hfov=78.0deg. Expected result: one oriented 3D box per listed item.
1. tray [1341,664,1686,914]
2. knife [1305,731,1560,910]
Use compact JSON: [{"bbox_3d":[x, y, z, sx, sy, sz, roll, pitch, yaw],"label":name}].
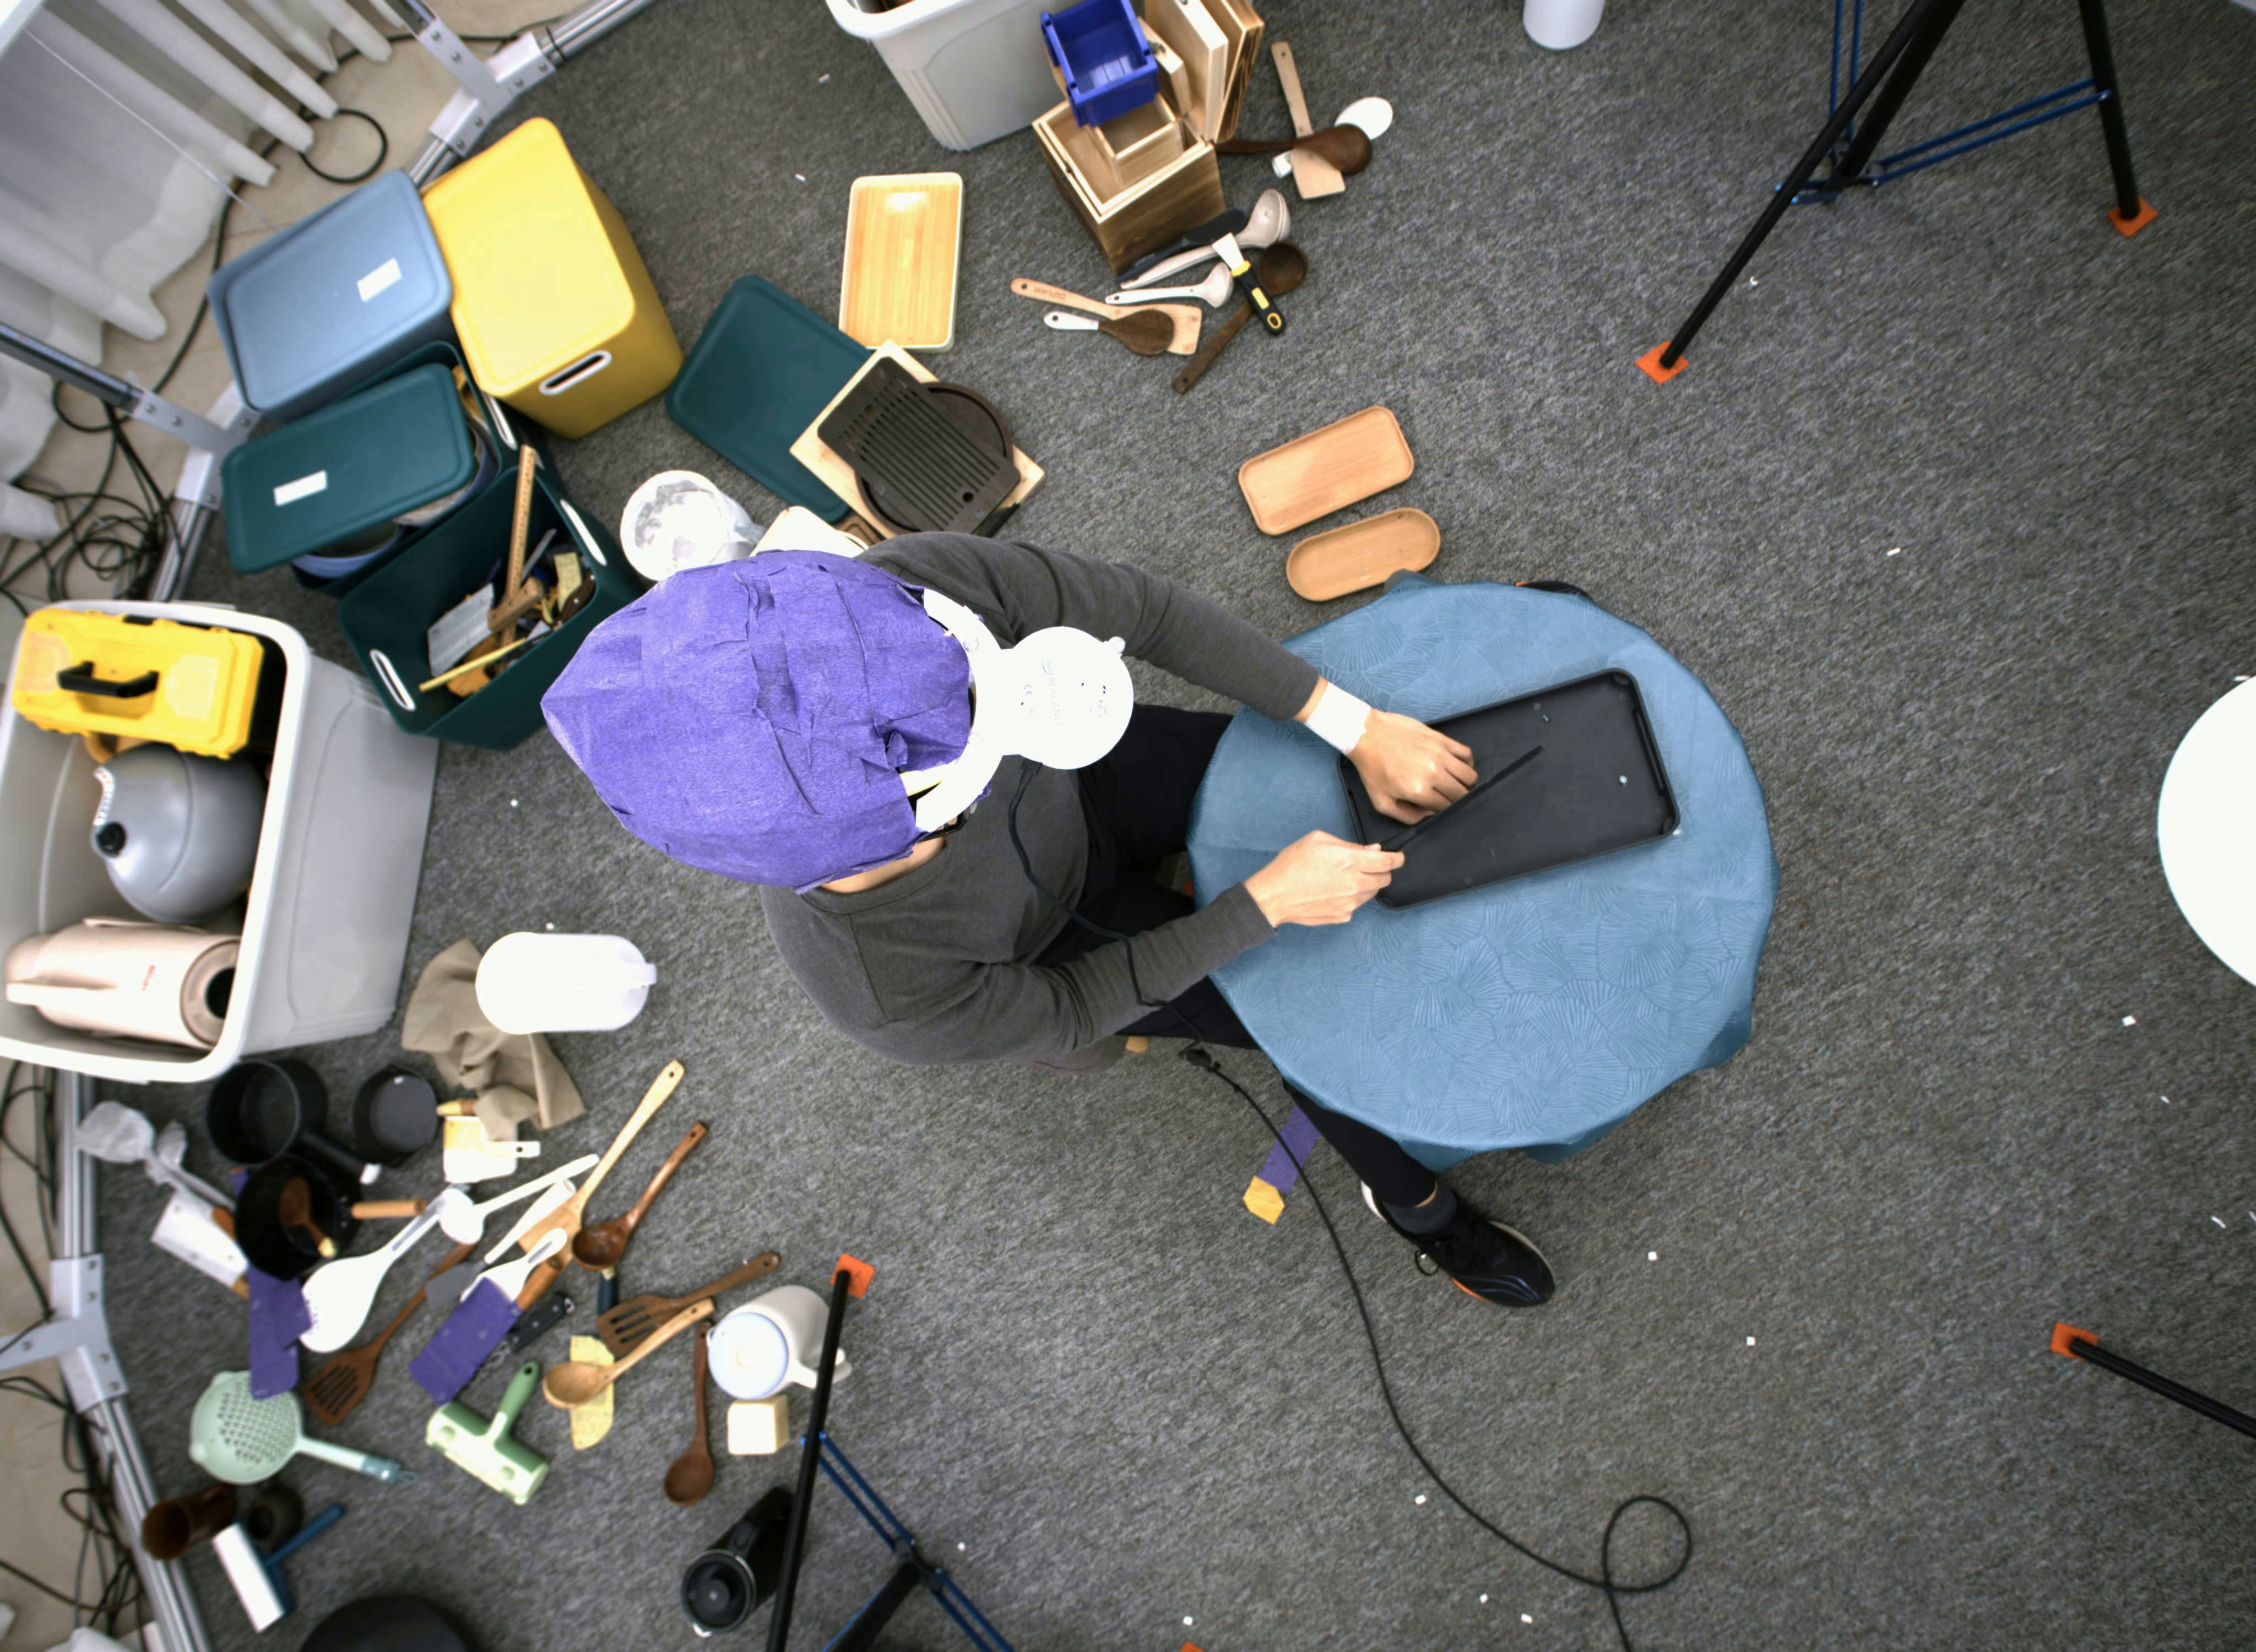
[{"bbox_3d":[0.395,-0.039,1.424,0.320,0.037,0.183,-18,83,9],"label":"tray"},{"bbox_3d":[0.306,-0.007,1.380,0.304,0.081,0.020,-34,76,6],"label":"knife"}]
